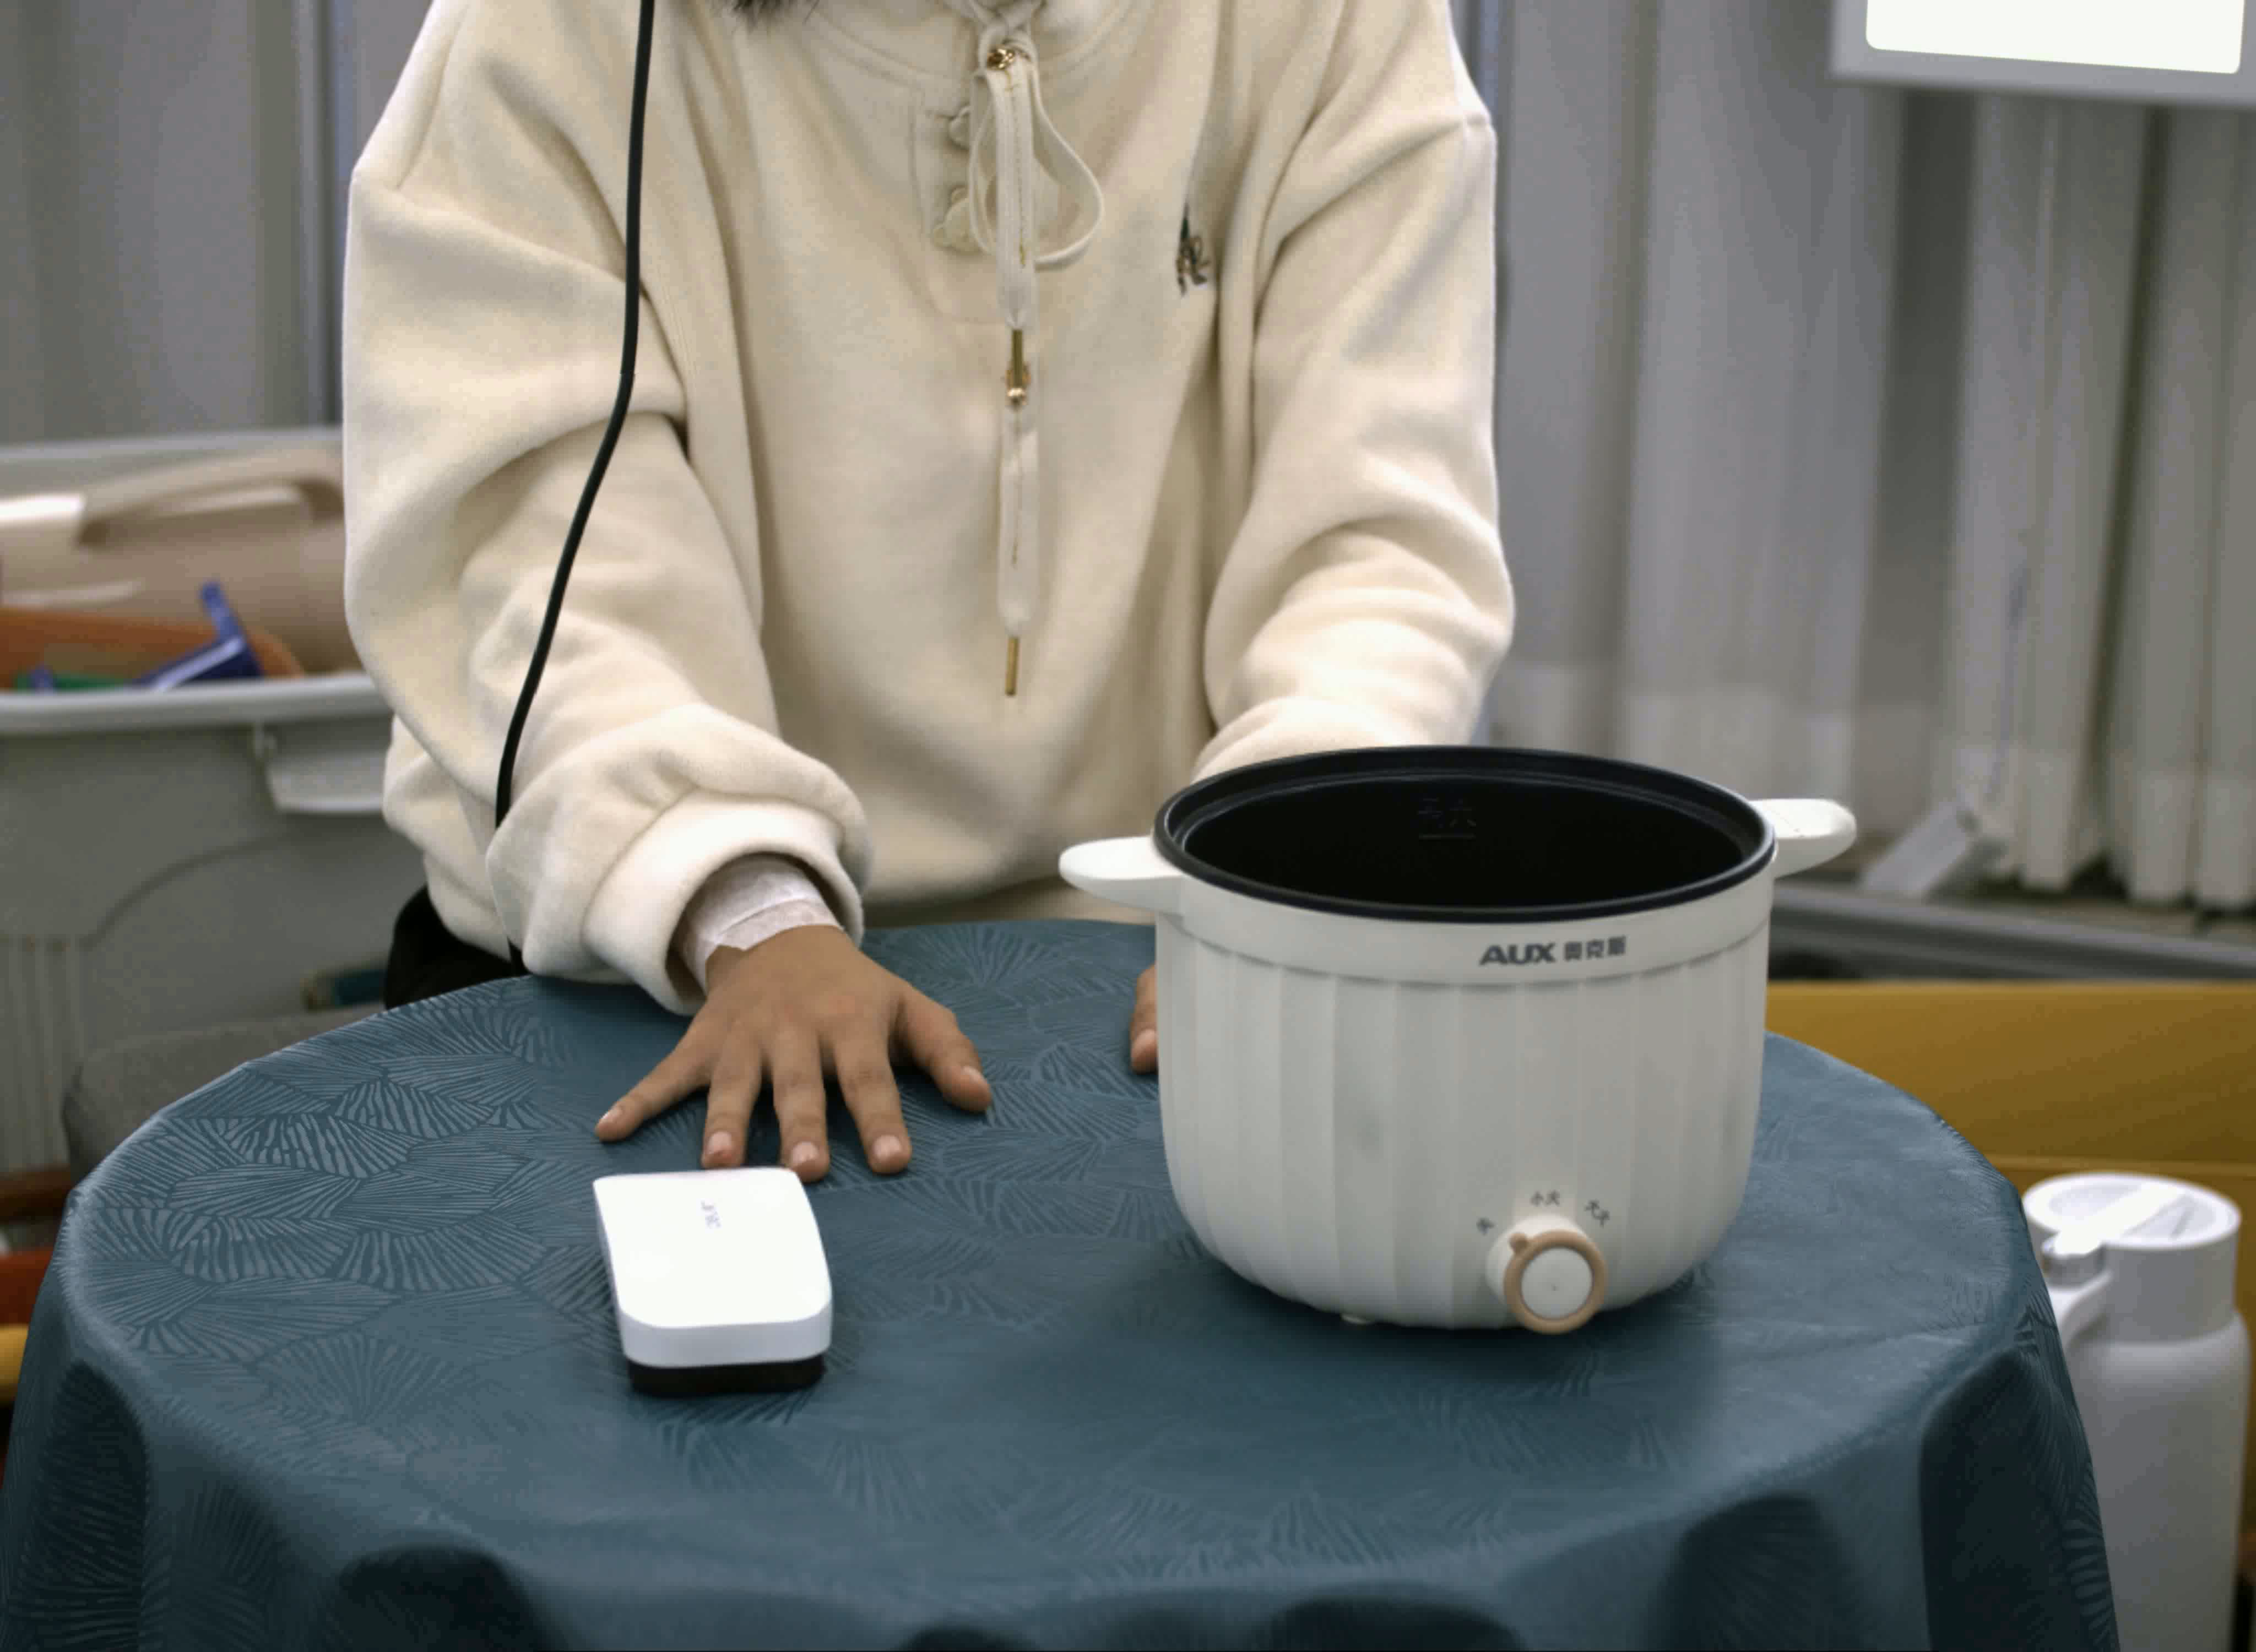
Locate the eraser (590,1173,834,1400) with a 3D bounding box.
[{"bbox_3d":[-0.119,0.127,1.507,0.063,0.035,0.130,0,16,-10],"label":"eraser"}]

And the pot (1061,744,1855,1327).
[{"bbox_3d":[0.100,0.063,1.538,0.240,0.144,0.189,-5,13,-14],"label":"pot"}]
